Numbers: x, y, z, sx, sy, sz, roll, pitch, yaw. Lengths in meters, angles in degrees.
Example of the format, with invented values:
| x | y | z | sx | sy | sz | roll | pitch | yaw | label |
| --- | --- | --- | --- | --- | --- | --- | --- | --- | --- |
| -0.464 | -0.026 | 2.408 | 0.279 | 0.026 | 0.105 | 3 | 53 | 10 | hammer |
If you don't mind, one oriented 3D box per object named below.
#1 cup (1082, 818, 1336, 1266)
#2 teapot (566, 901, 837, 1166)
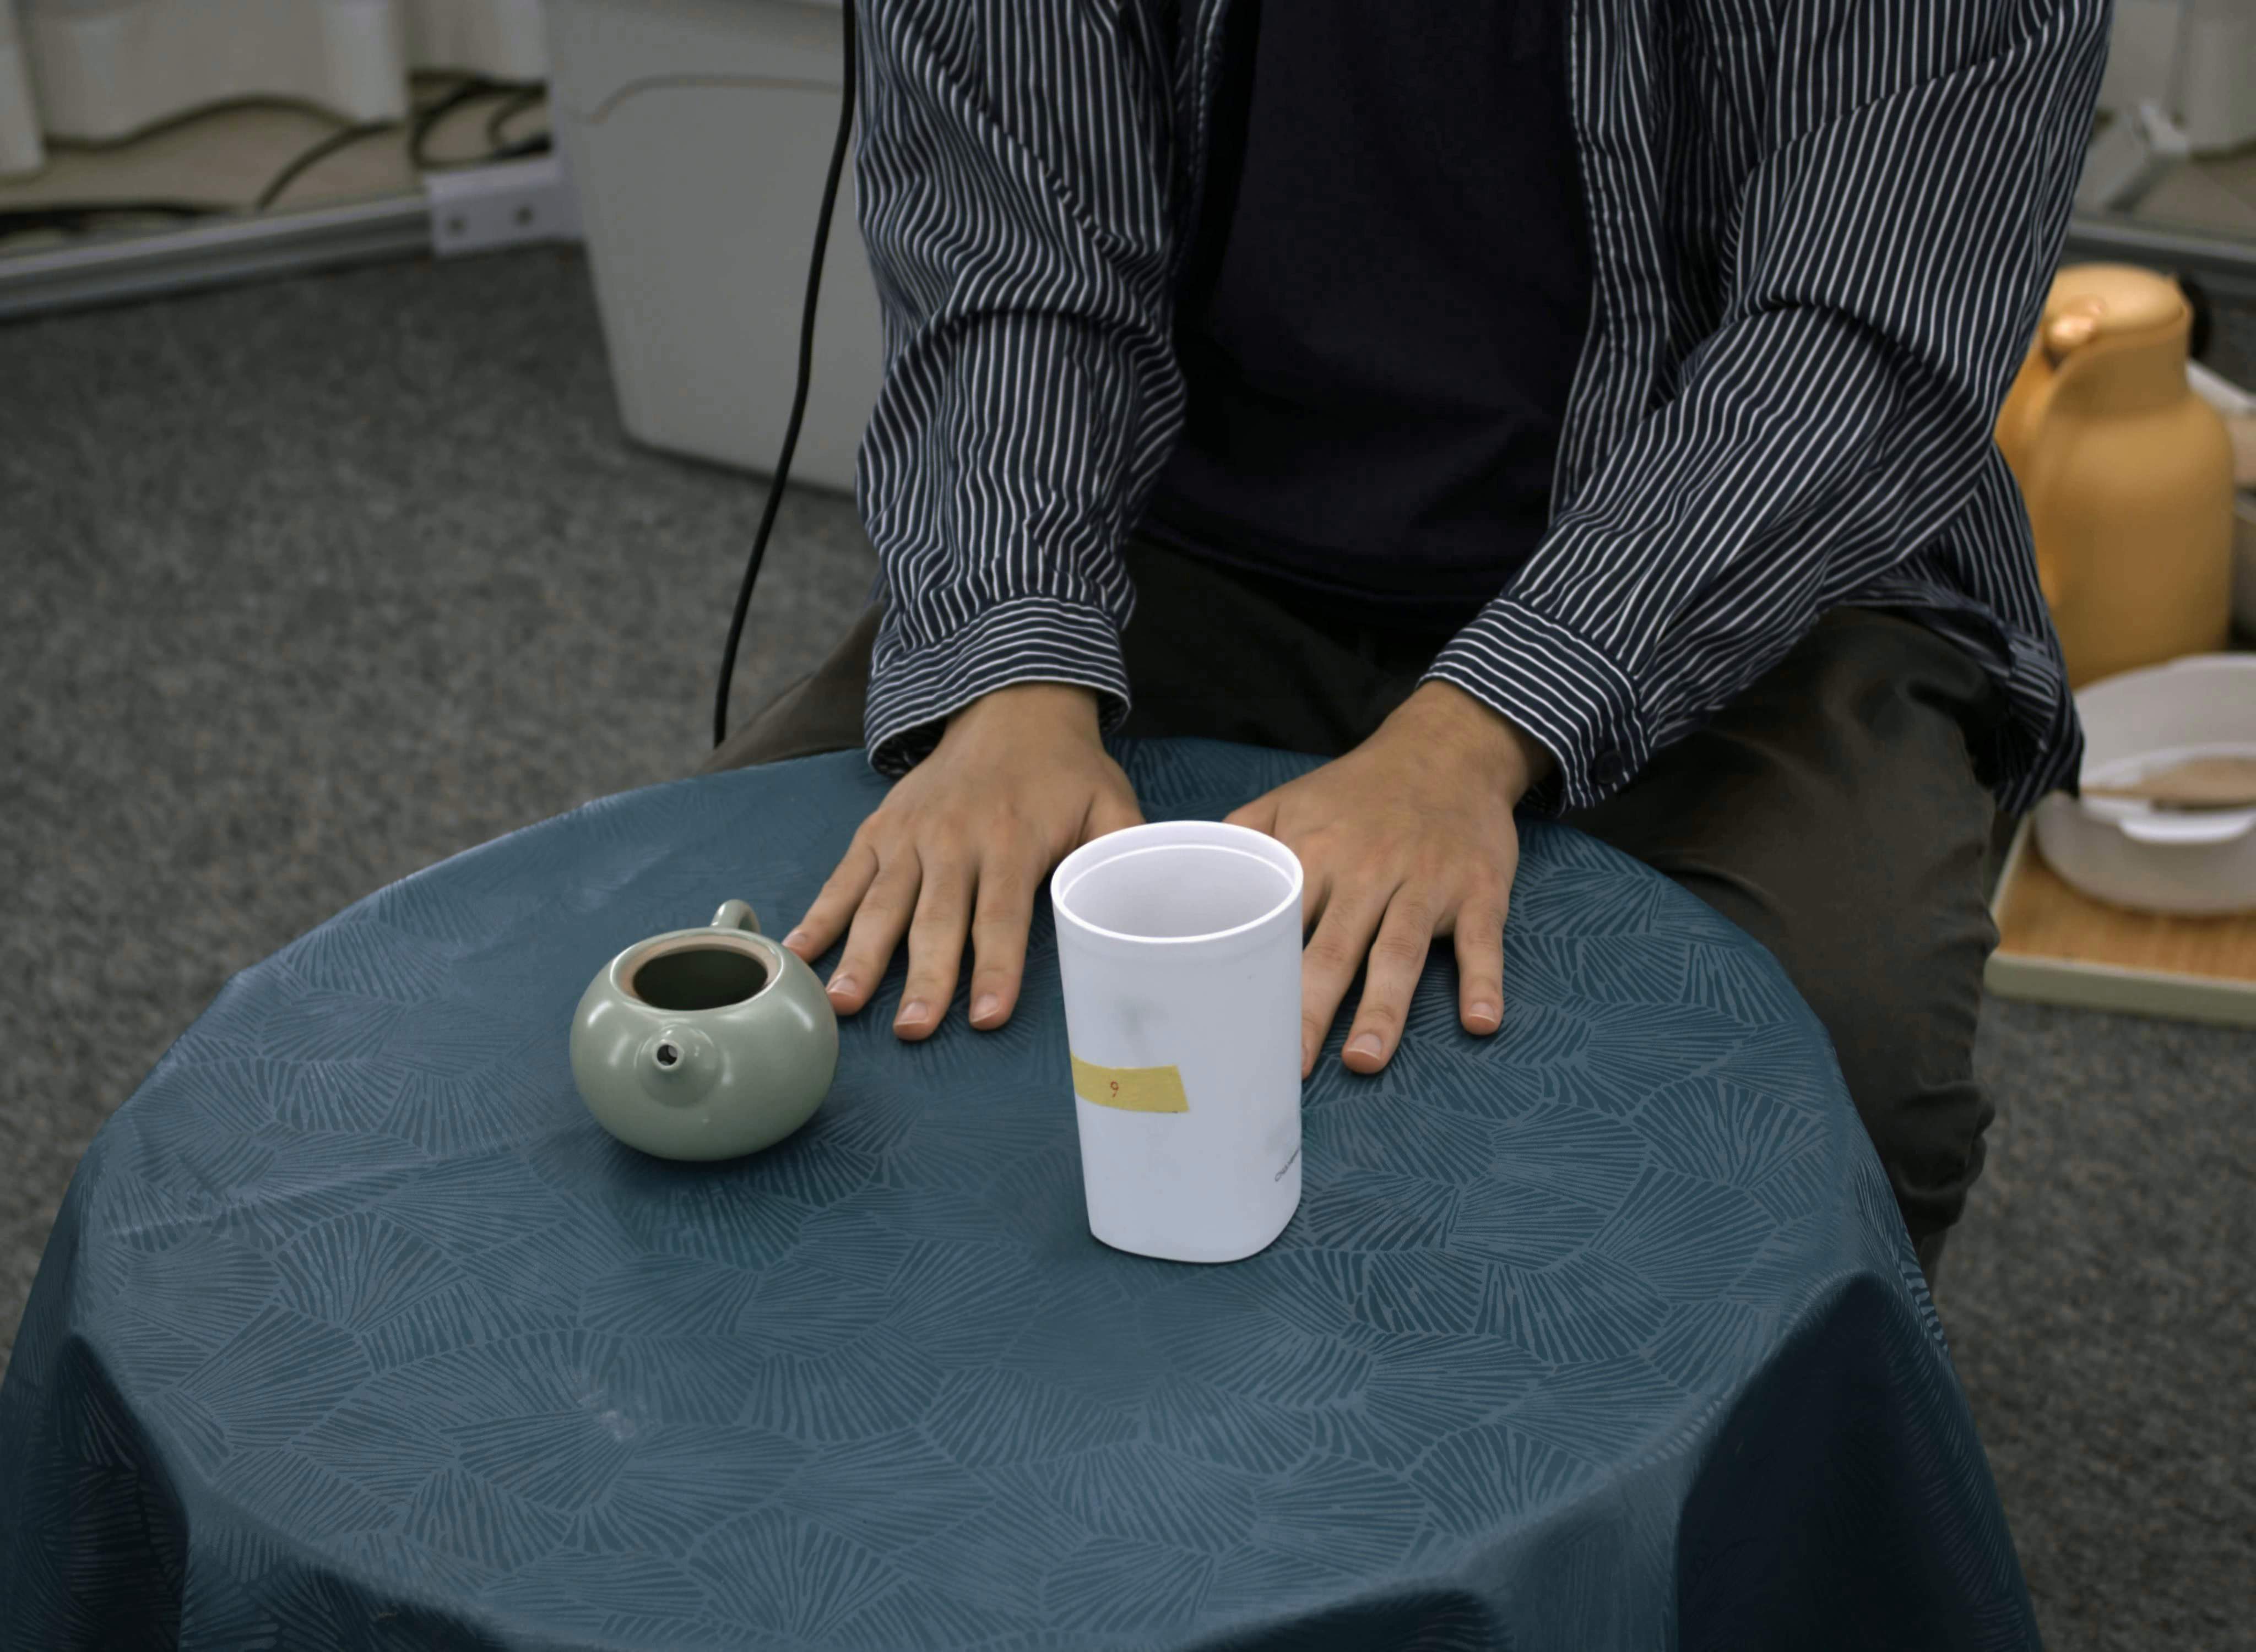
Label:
| x | y | z | sx | sy | sz | roll | pitch | yaw | label |
| --- | --- | --- | --- | --- | --- | --- | --- | --- | --- |
| 0.030 | 0.072 | 1.809 | 0.081 | 0.124 | 0.083 | -3 | 27 | 2 | cup |
| -0.142 | 0.071 | 1.905 | 0.091 | 0.060 | 0.130 | 2 | 27 | 14 | teapot |
